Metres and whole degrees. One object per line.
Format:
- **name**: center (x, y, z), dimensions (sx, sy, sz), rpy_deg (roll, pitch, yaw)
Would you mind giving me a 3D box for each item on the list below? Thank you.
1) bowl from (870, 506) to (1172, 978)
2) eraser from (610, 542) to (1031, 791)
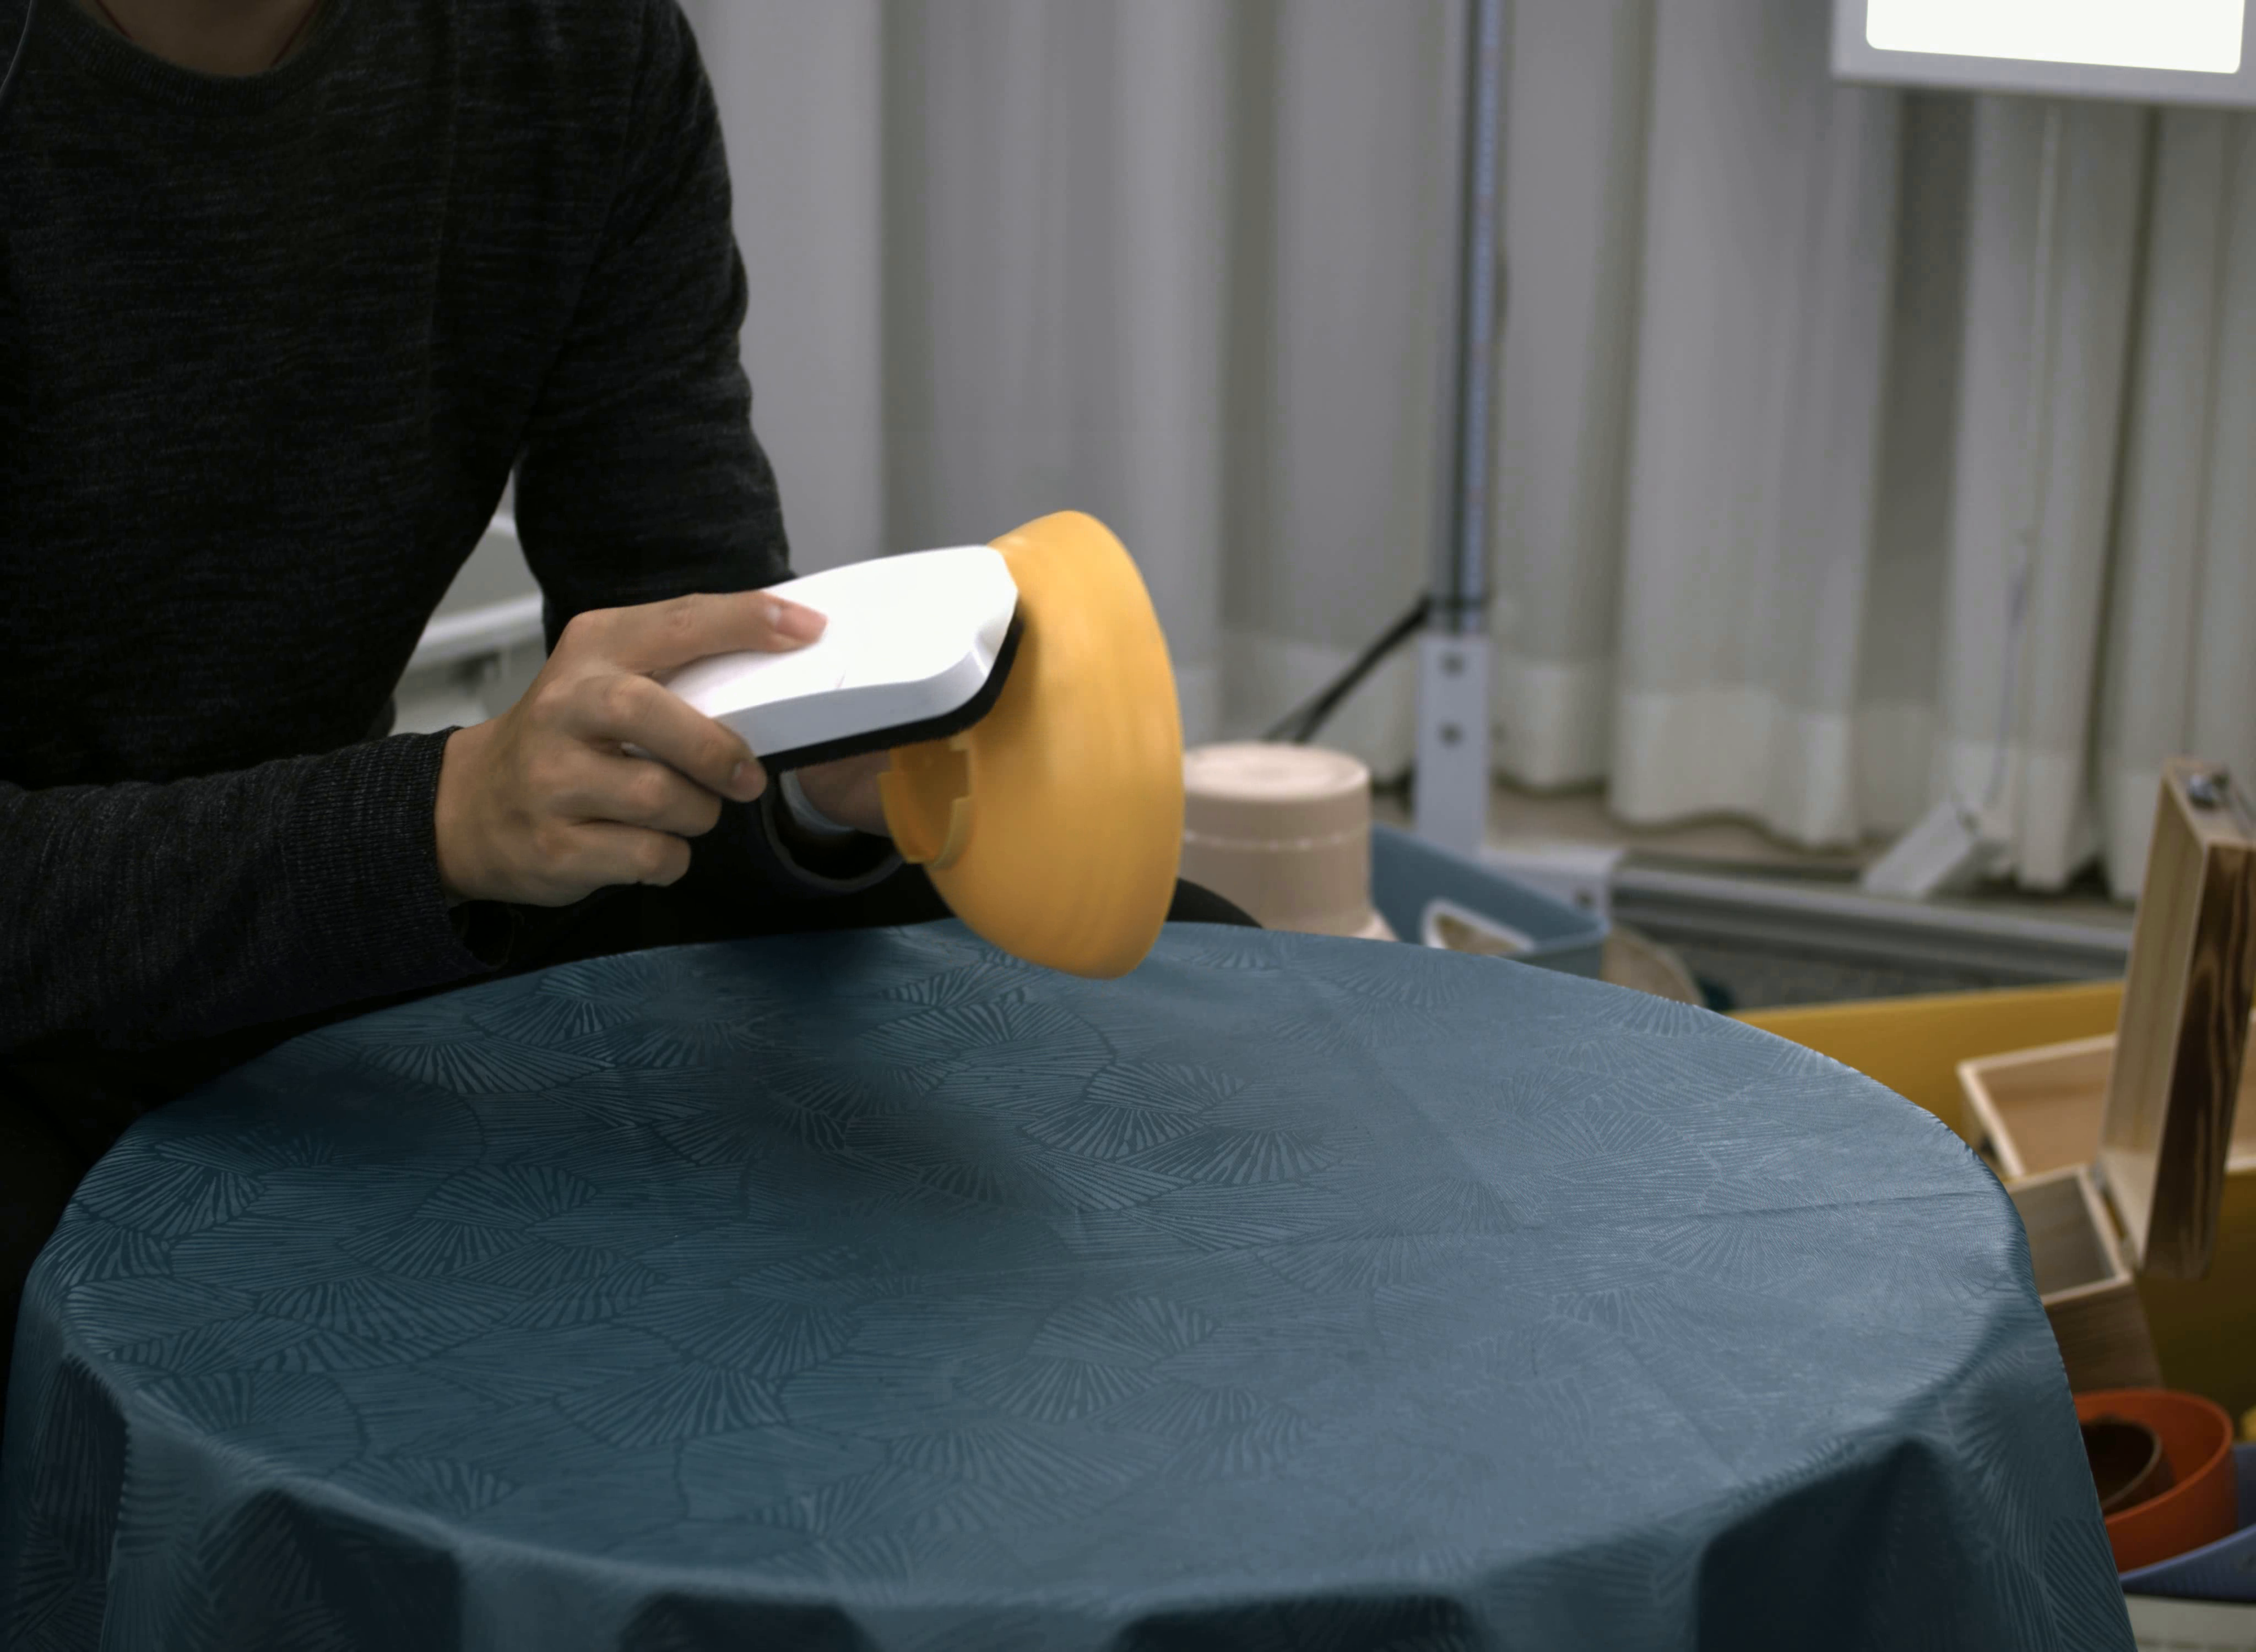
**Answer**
- **bowl**: center (-0.040, -0.023, 1.602), dimensions (0.060, 0.146, 0.143), rpy_deg (-6, 18, -22)
- **eraser**: center (-0.092, -0.049, 1.564), dimensions (0.130, 0.035, 0.063), rpy_deg (-12, 37, 31)
